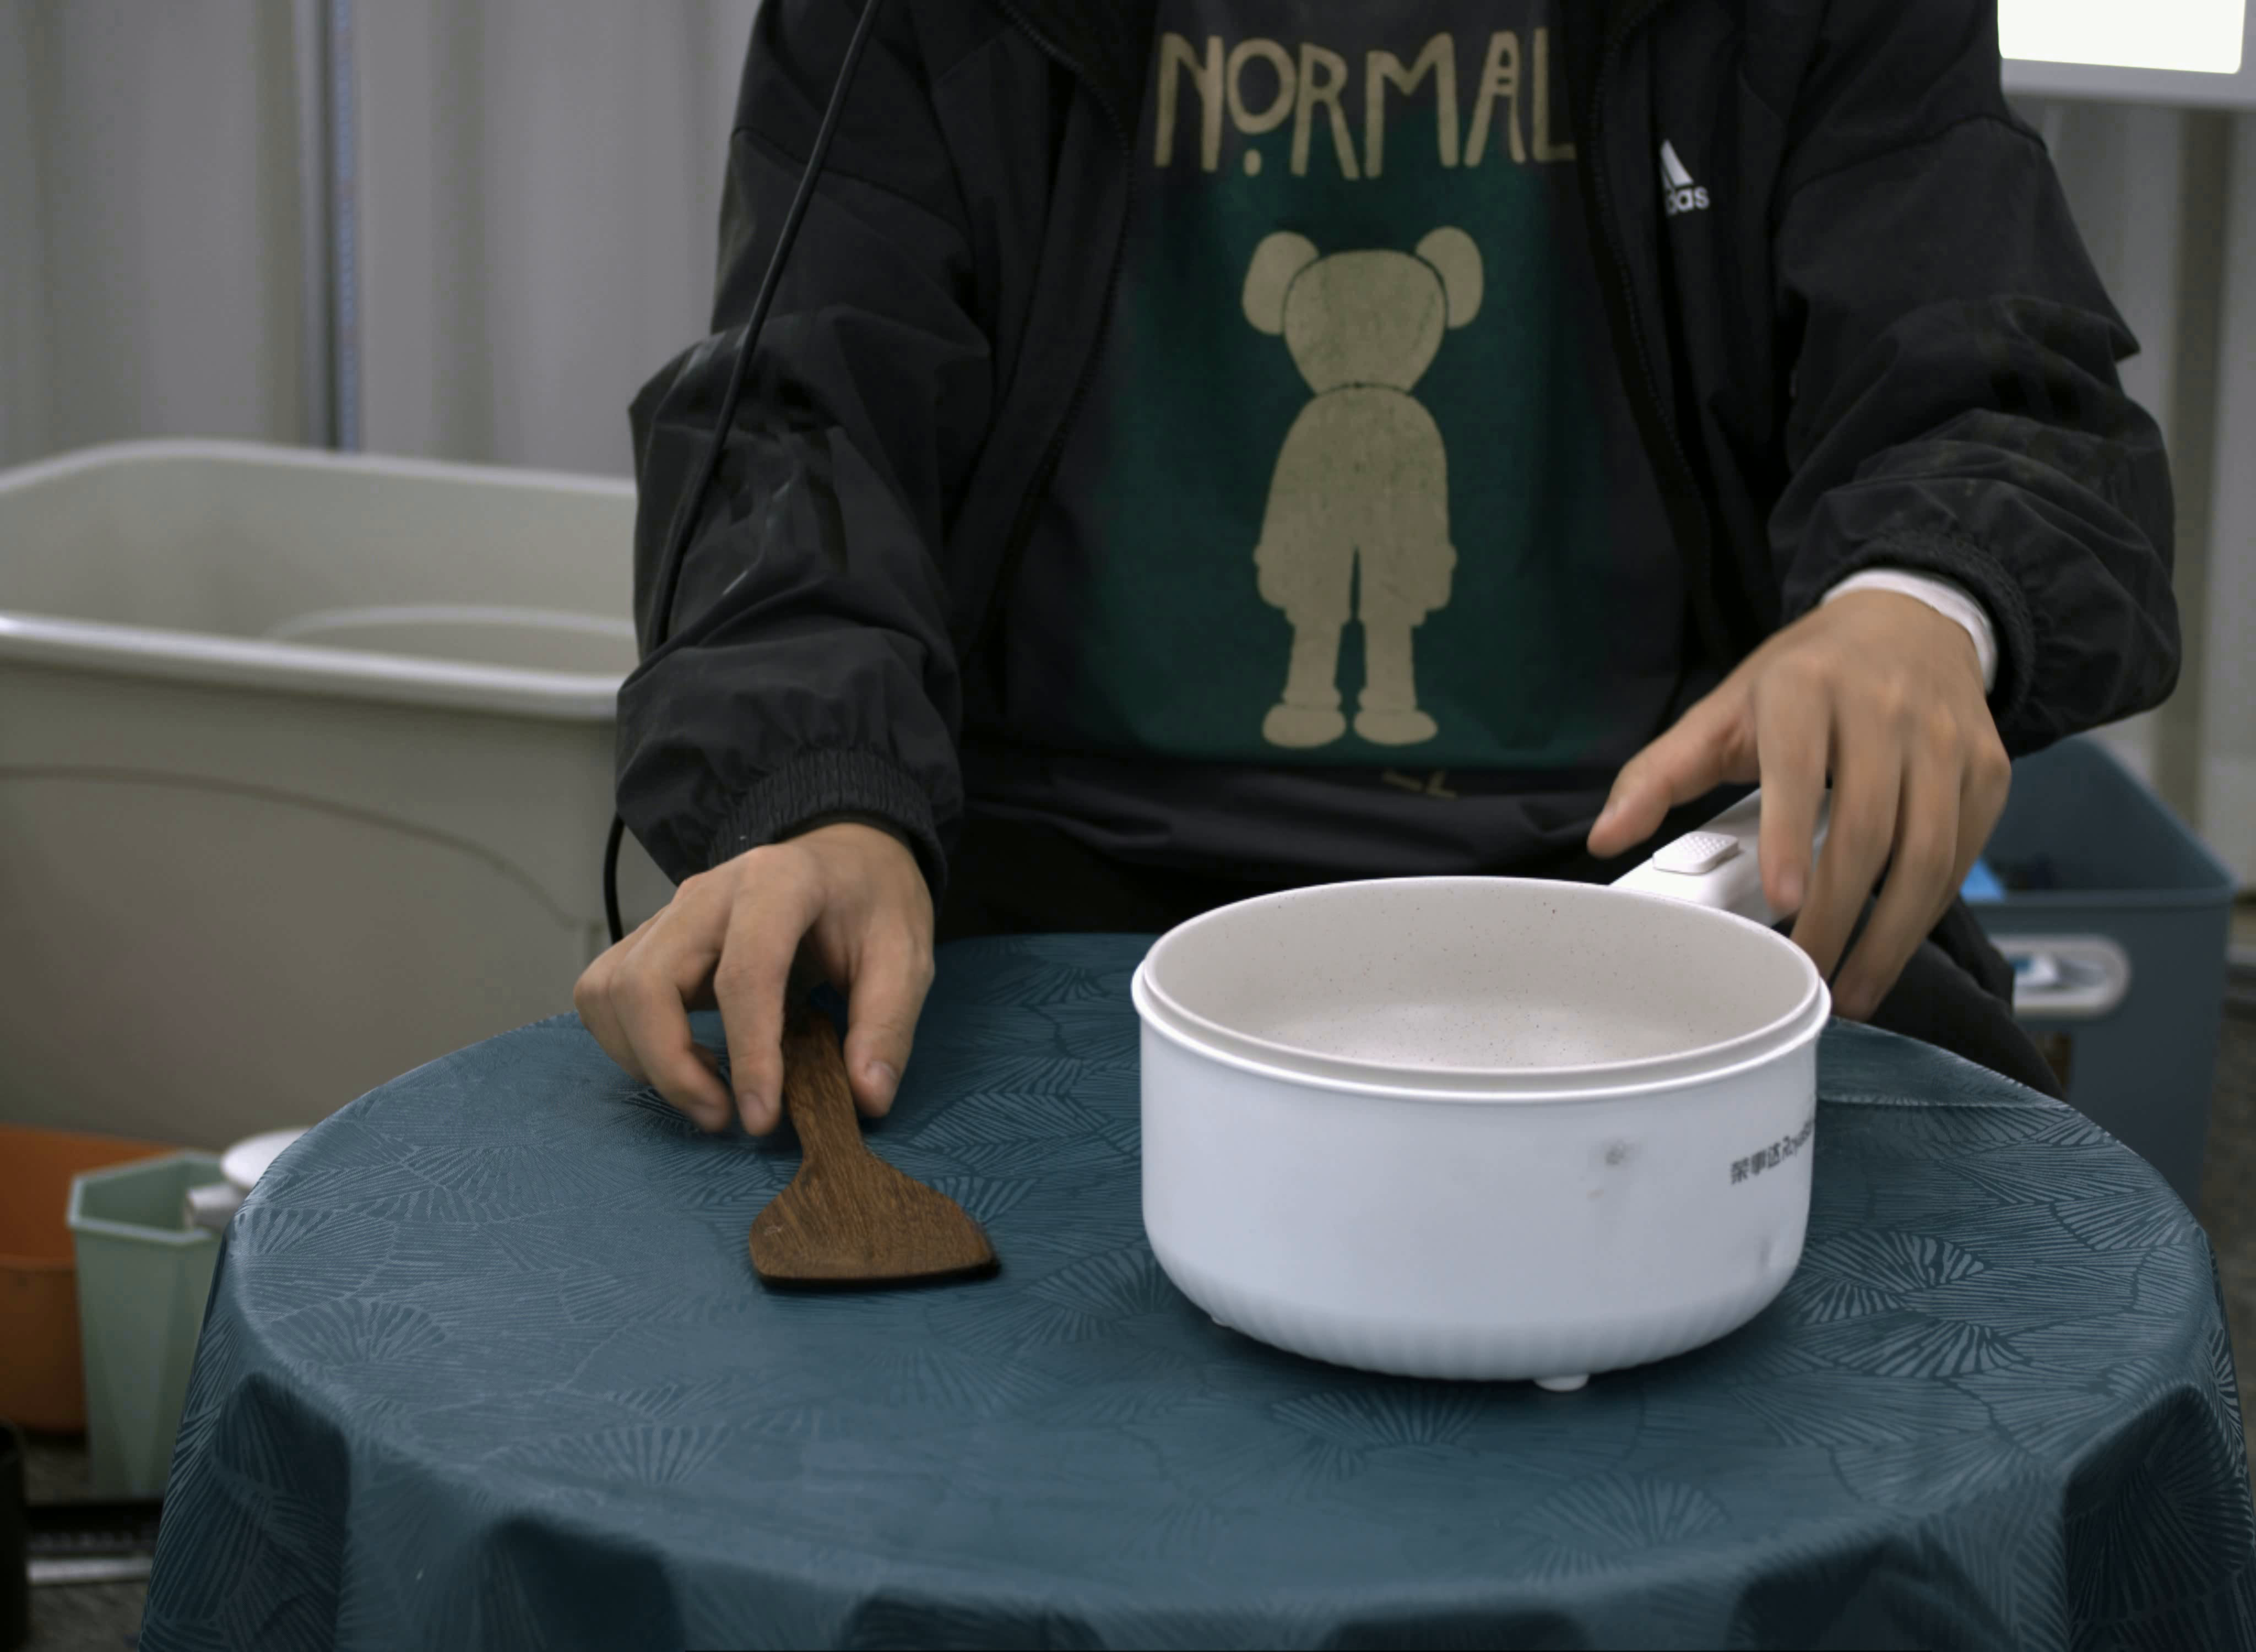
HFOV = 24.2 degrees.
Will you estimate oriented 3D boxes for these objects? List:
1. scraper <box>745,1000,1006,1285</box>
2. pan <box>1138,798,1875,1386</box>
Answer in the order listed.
[{"bbox_3d":[-0.091,0.097,1.631,0.076,0.011,0.209,-2,22,-12],"label":"scraper"},{"bbox_3d":[0.139,0.073,1.590,0.199,0.103,0.356,9,16,27],"label":"pan"}]
